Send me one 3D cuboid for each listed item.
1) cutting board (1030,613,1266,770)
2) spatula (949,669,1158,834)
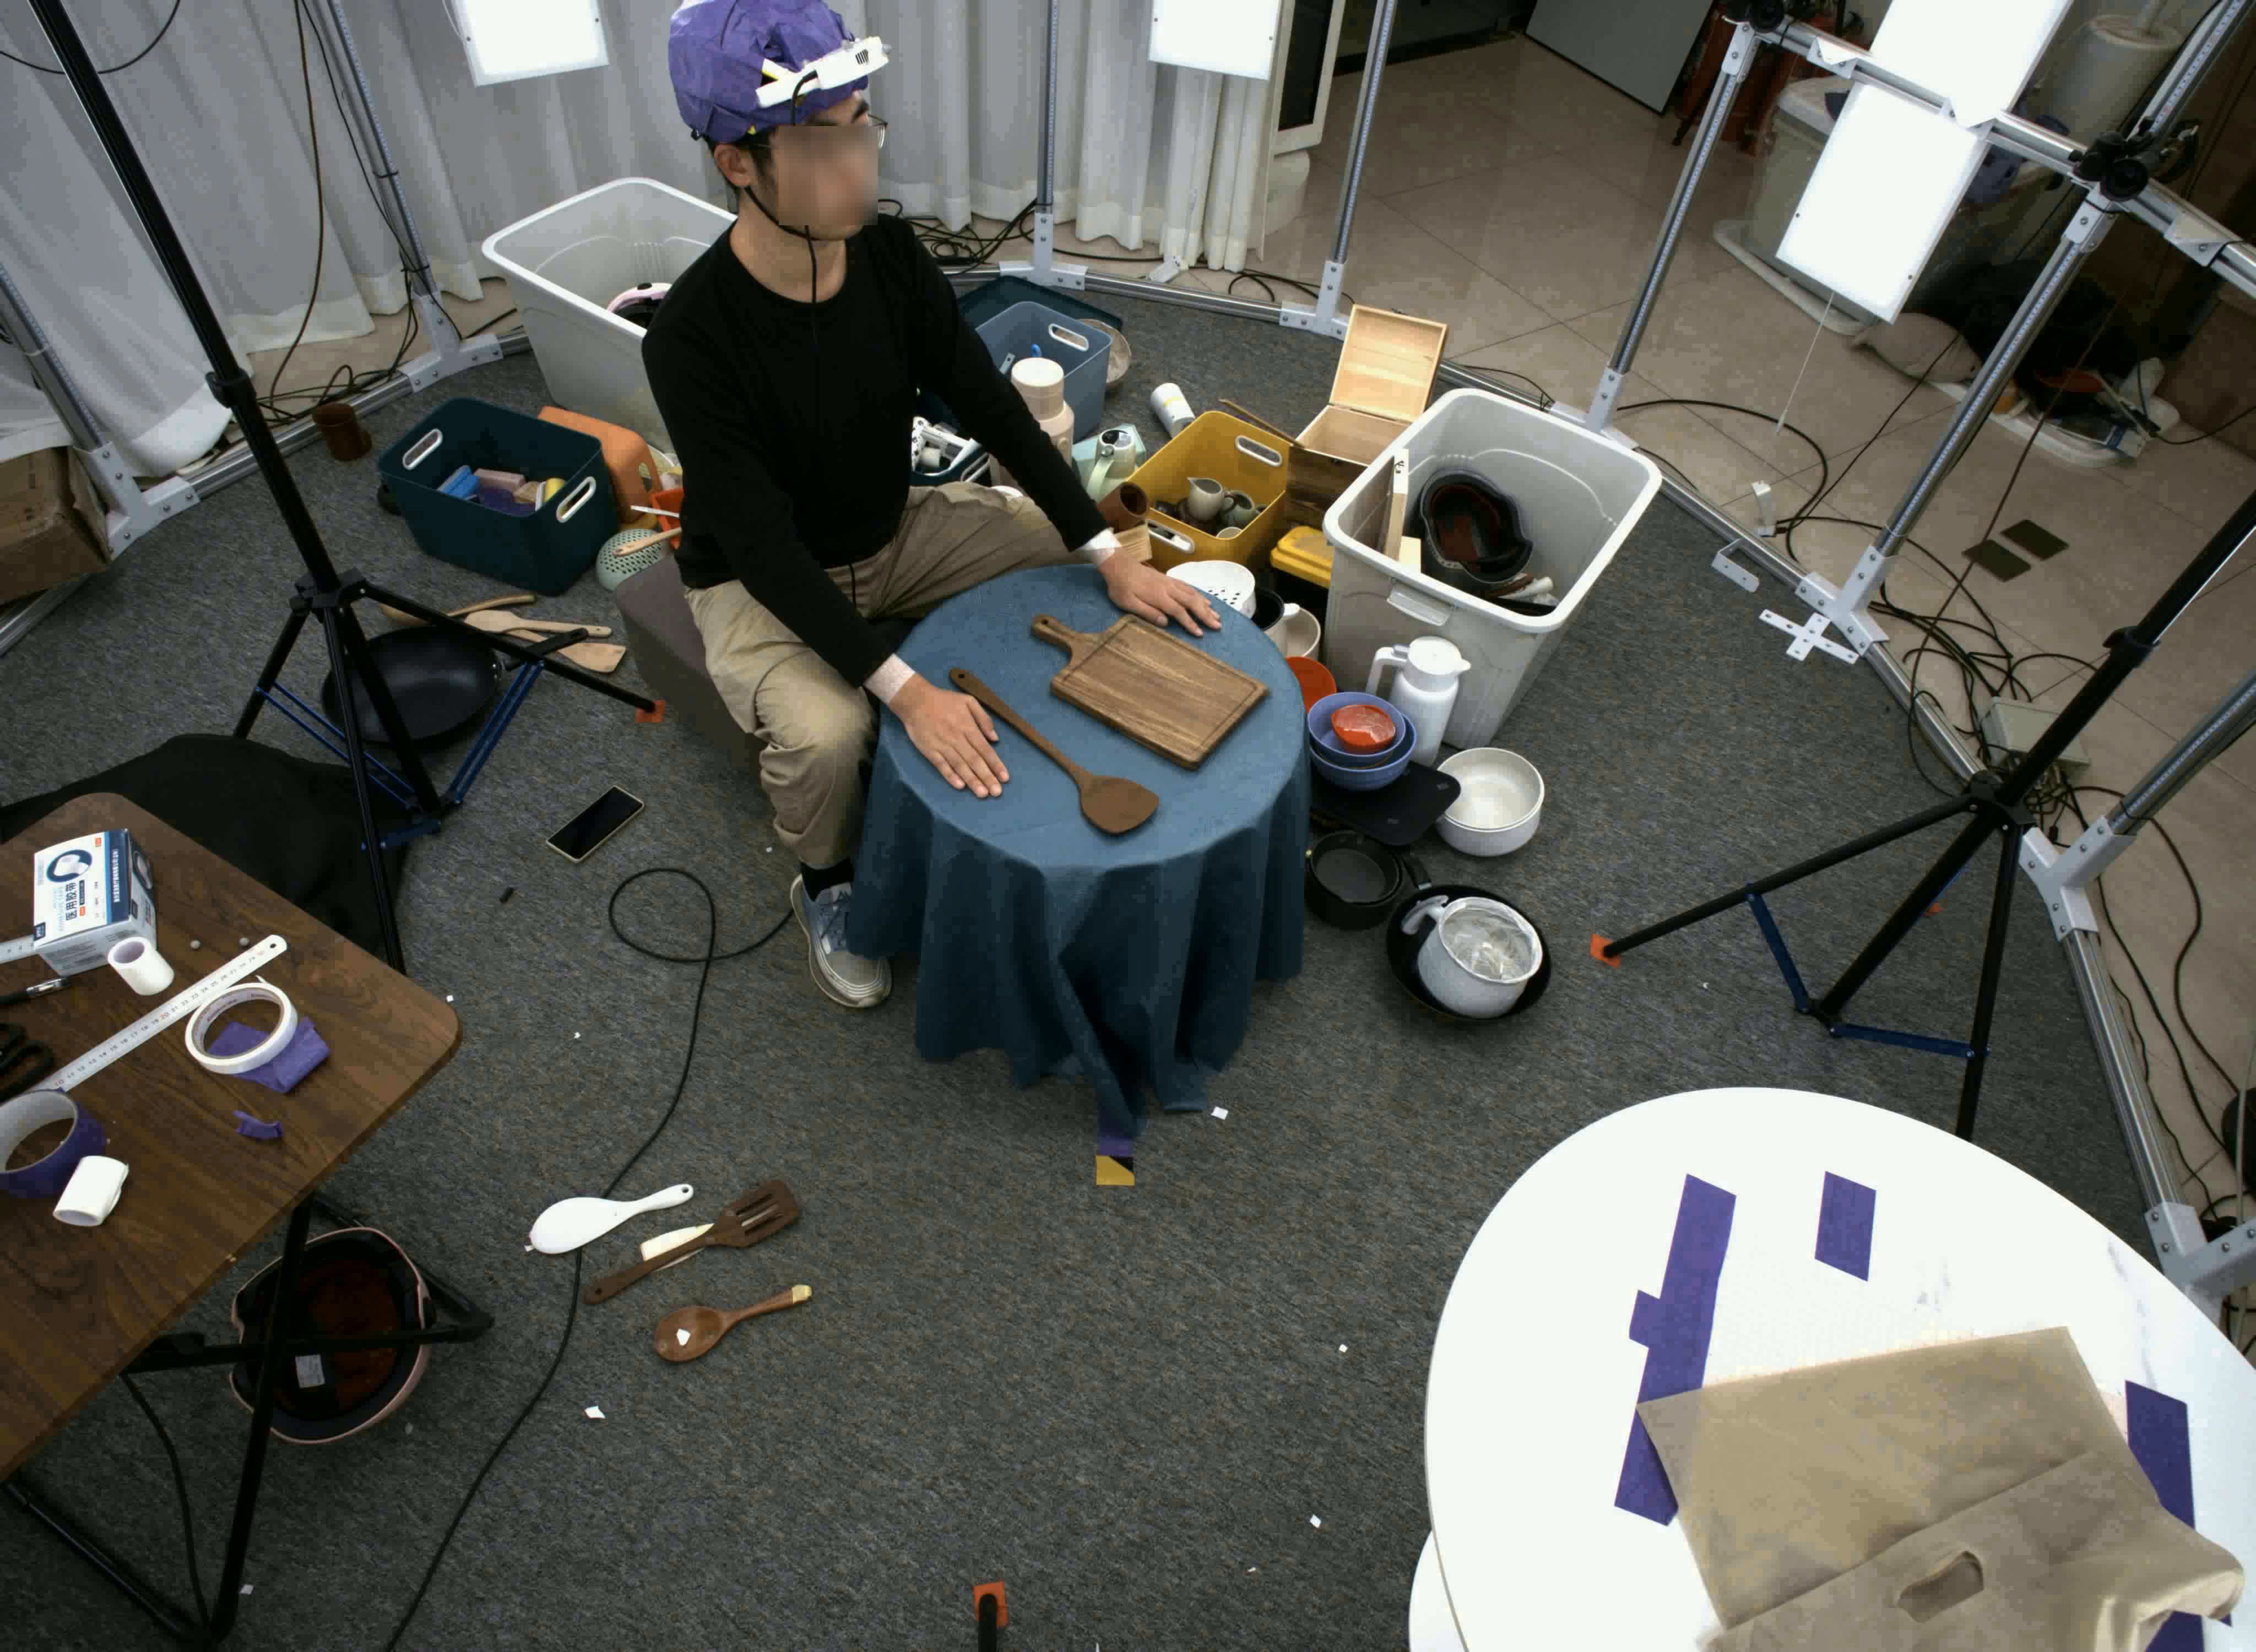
[{"bbox_3d":[0.004,-0.222,1.849,0.356,0.022,0.204,30,54,21],"label":"cutting board"},{"bbox_3d":[-0.118,-0.114,1.751,0.097,0.015,0.392,-34,59,-29],"label":"spatula"}]
